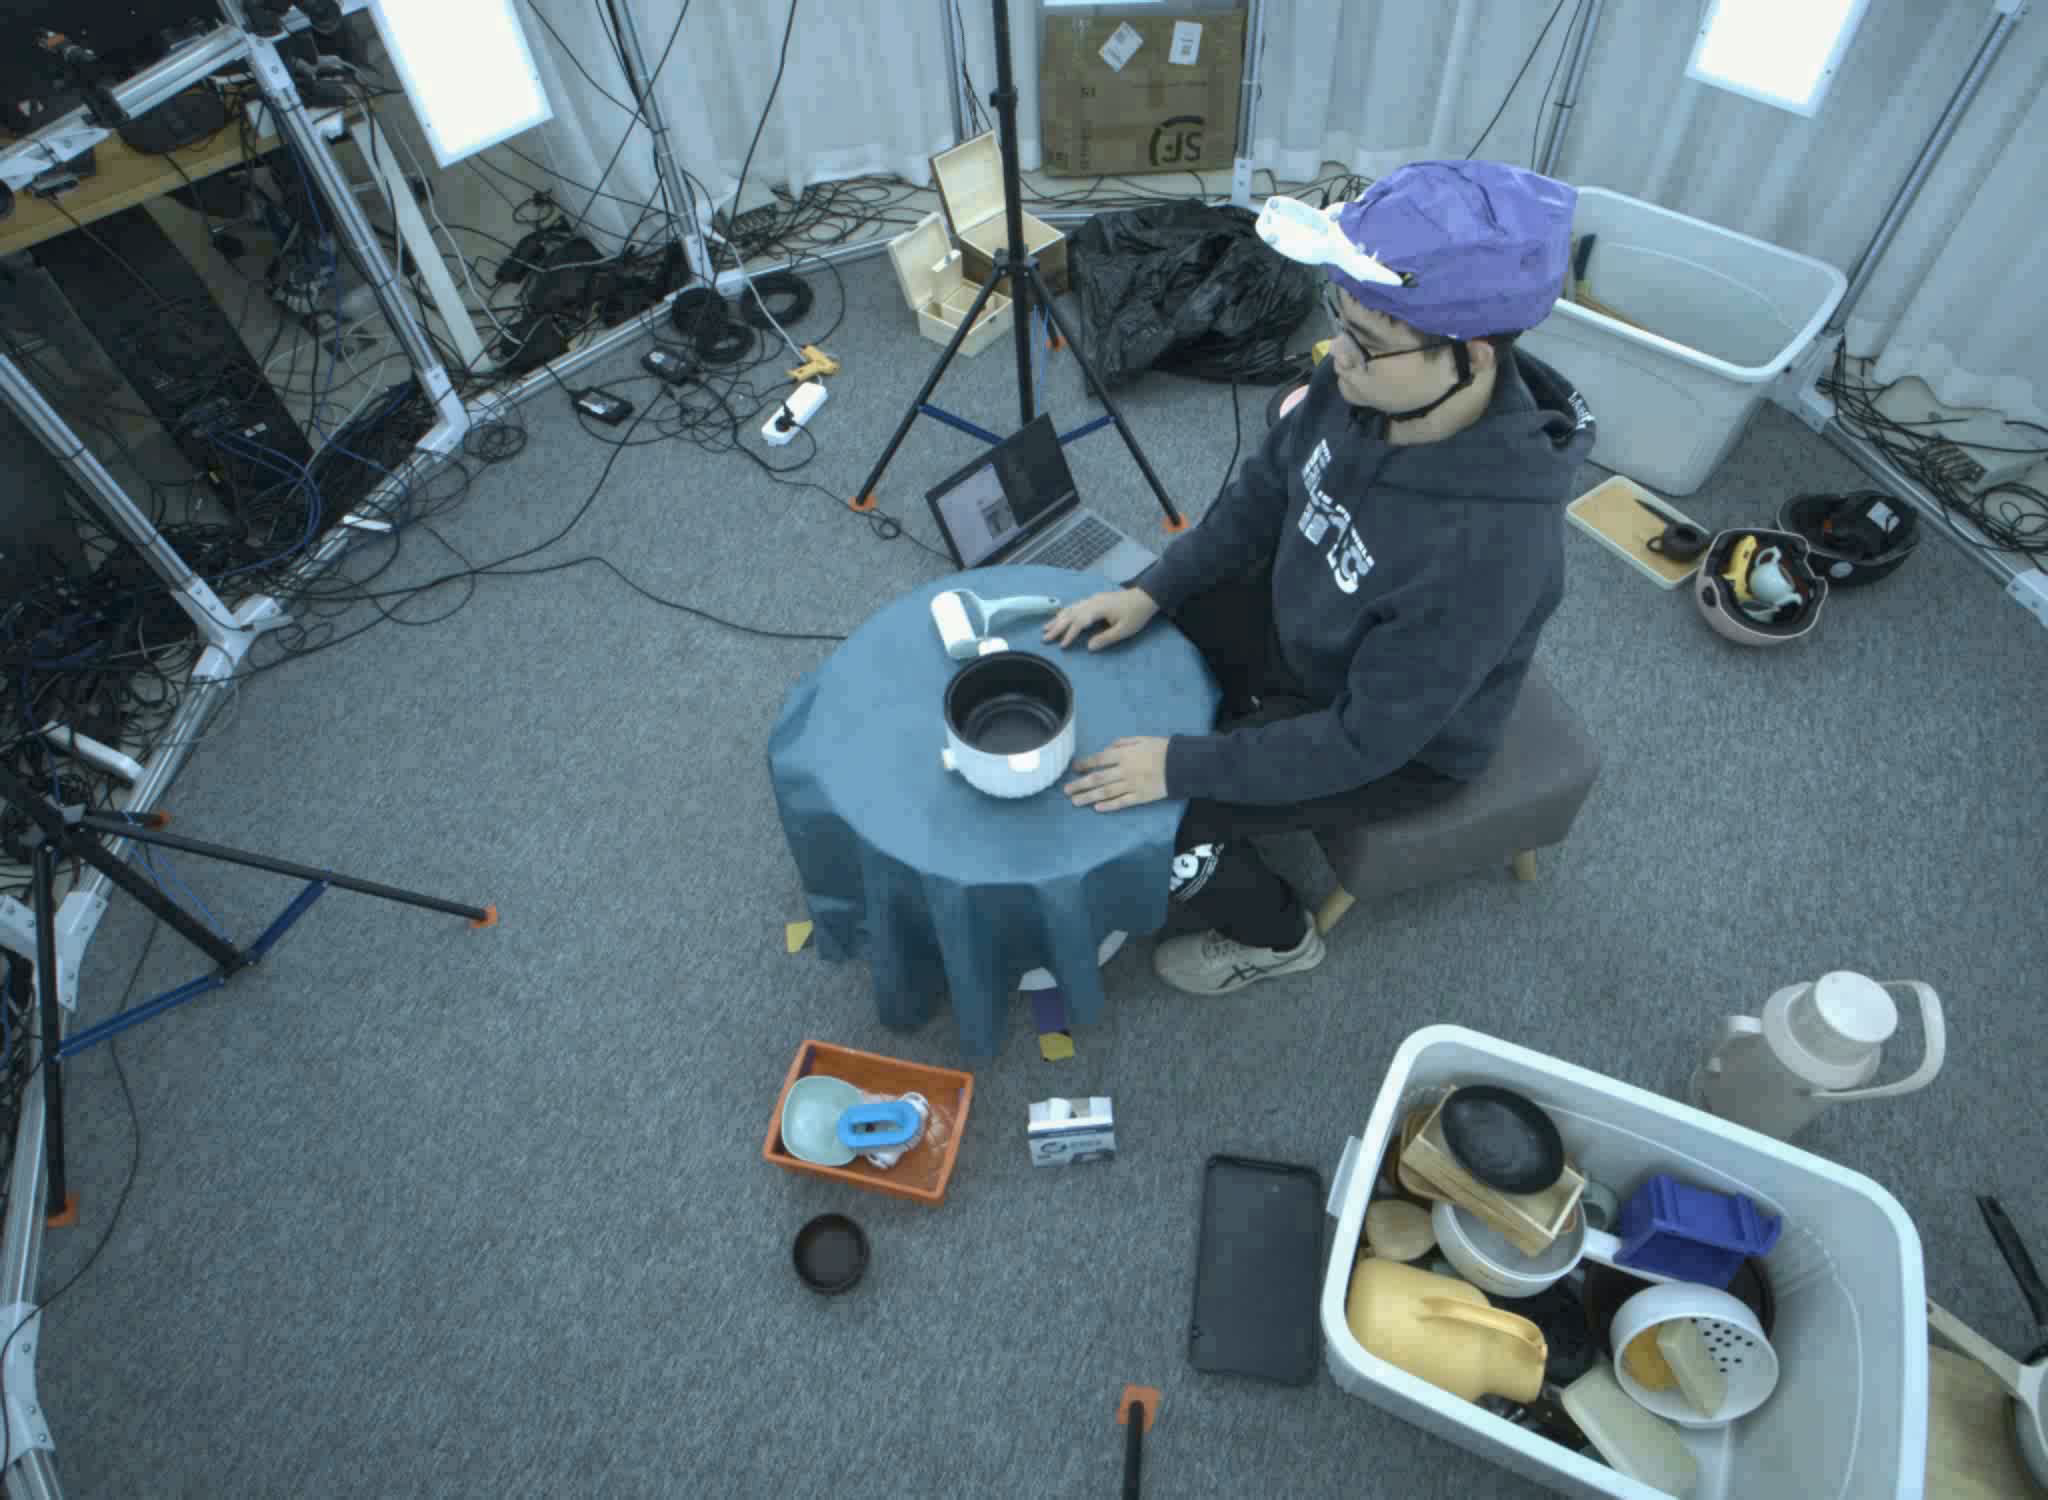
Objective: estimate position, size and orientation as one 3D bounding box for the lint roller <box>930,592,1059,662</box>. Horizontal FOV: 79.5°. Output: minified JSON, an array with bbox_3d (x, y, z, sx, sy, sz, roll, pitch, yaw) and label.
[{"bbox_3d":[-0.038,-0.206,1.908,0.199,0.049,0.114,-15,53,-12],"label":"lint roller"}]

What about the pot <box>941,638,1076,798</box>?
[{"bbox_3d":[-0.023,-0.026,1.722,0.192,0.144,0.236,-11,54,-9],"label":"pot"}]
